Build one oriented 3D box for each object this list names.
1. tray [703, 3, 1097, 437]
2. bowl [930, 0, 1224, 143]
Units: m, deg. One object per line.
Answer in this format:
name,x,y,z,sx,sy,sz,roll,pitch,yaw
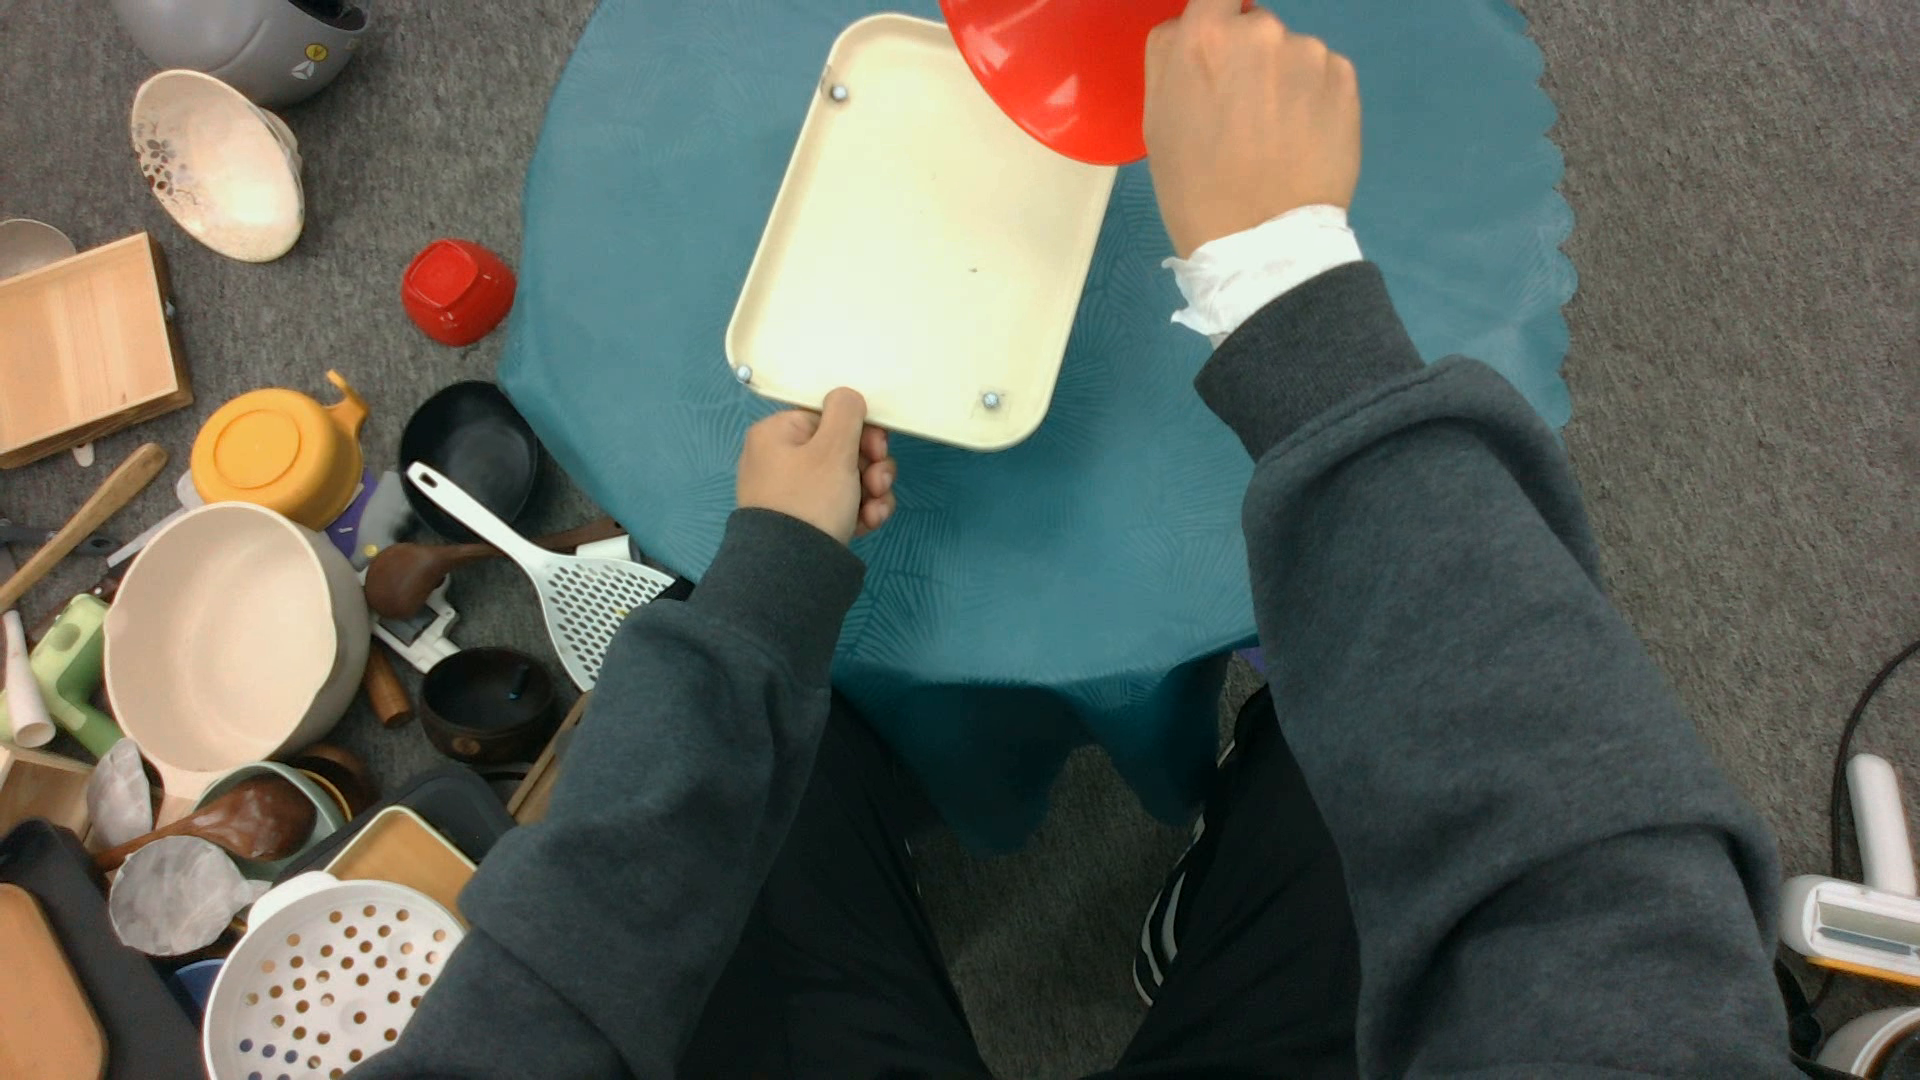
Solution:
tray,-0.025,-0.173,0.727,0.171,0.017,0.240,14,71,5
bowl,0.061,-0.258,0.588,0.105,0.147,0.148,-40,74,-14
